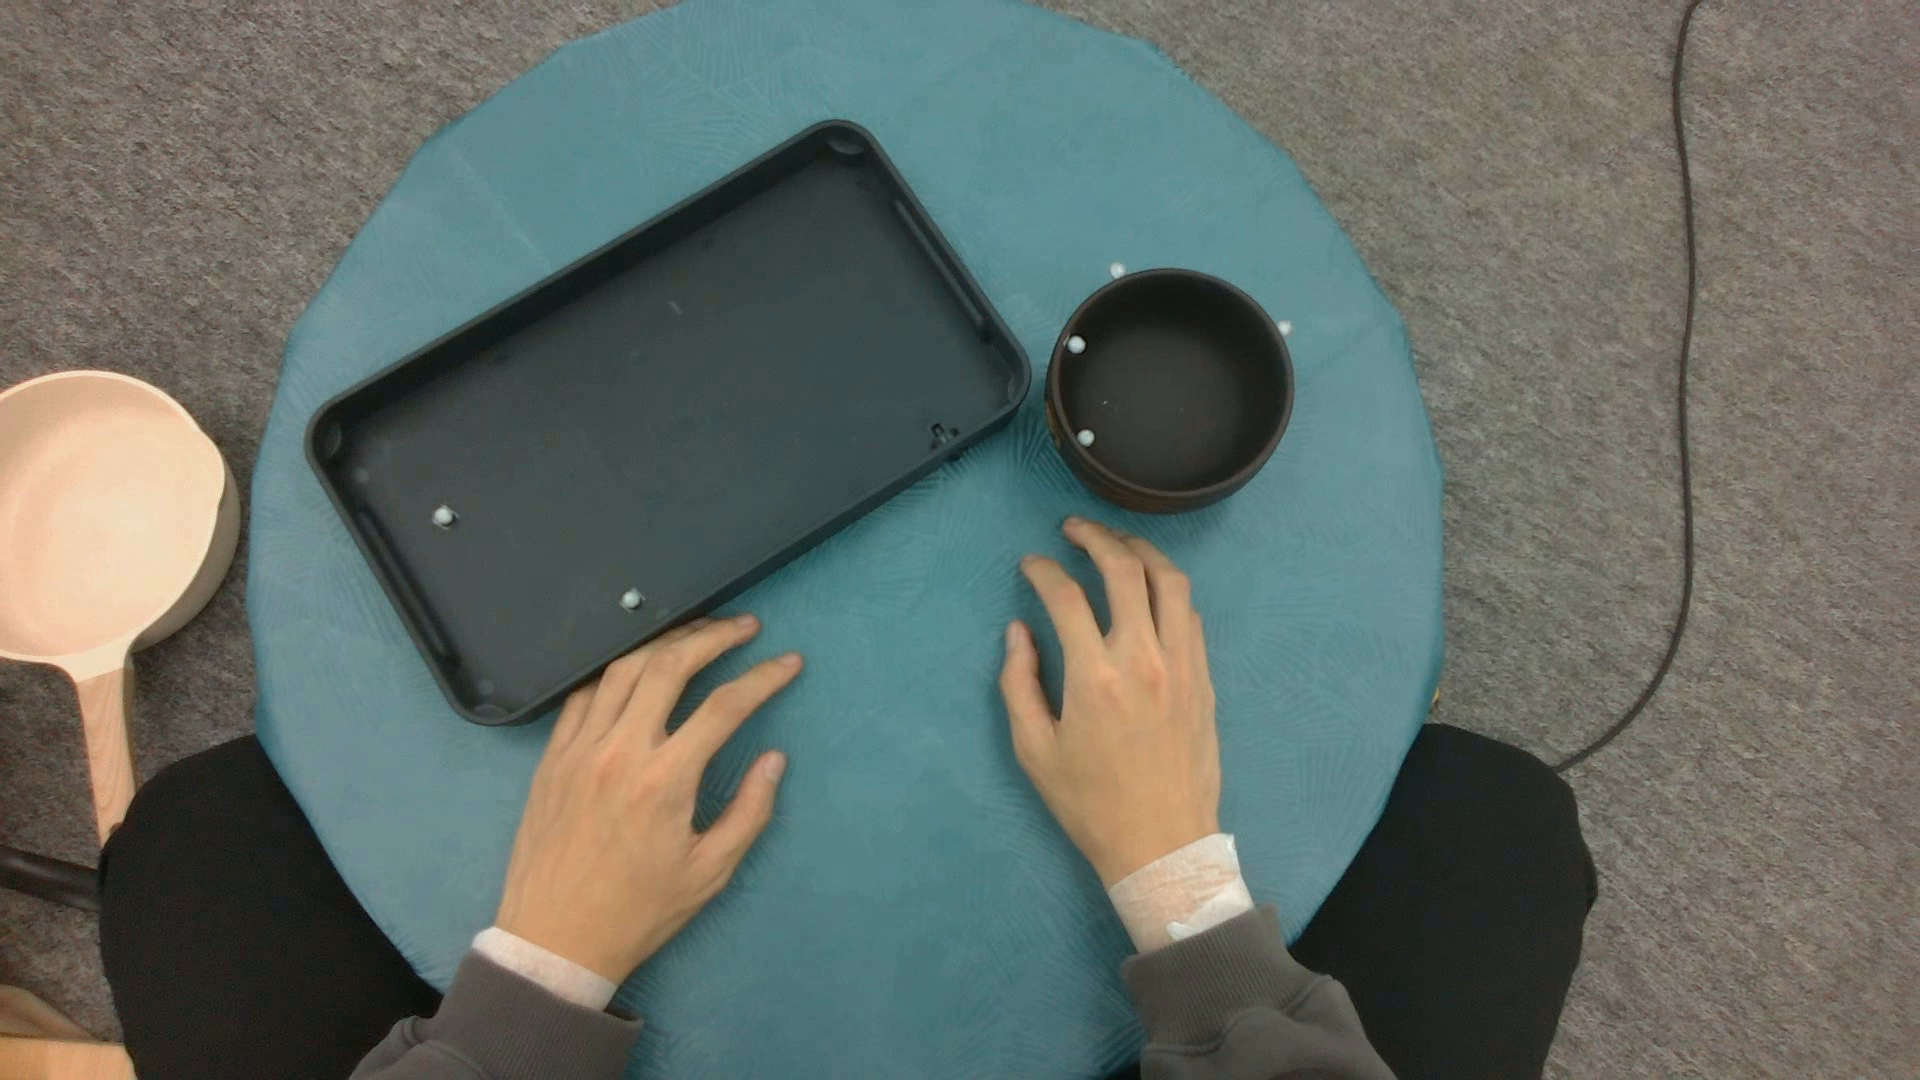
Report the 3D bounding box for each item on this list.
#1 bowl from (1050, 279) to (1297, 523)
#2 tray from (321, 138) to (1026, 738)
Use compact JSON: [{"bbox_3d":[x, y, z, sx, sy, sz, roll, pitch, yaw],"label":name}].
[{"bbox_3d":[0.103,-0.064,0.689,0.118,0.069,0.118,0,78,-2],"label":"bowl"},{"bbox_3d":[-0.140,-0.056,0.699,0.318,0.037,0.184,-34,80,-9],"label":"tray"}]
